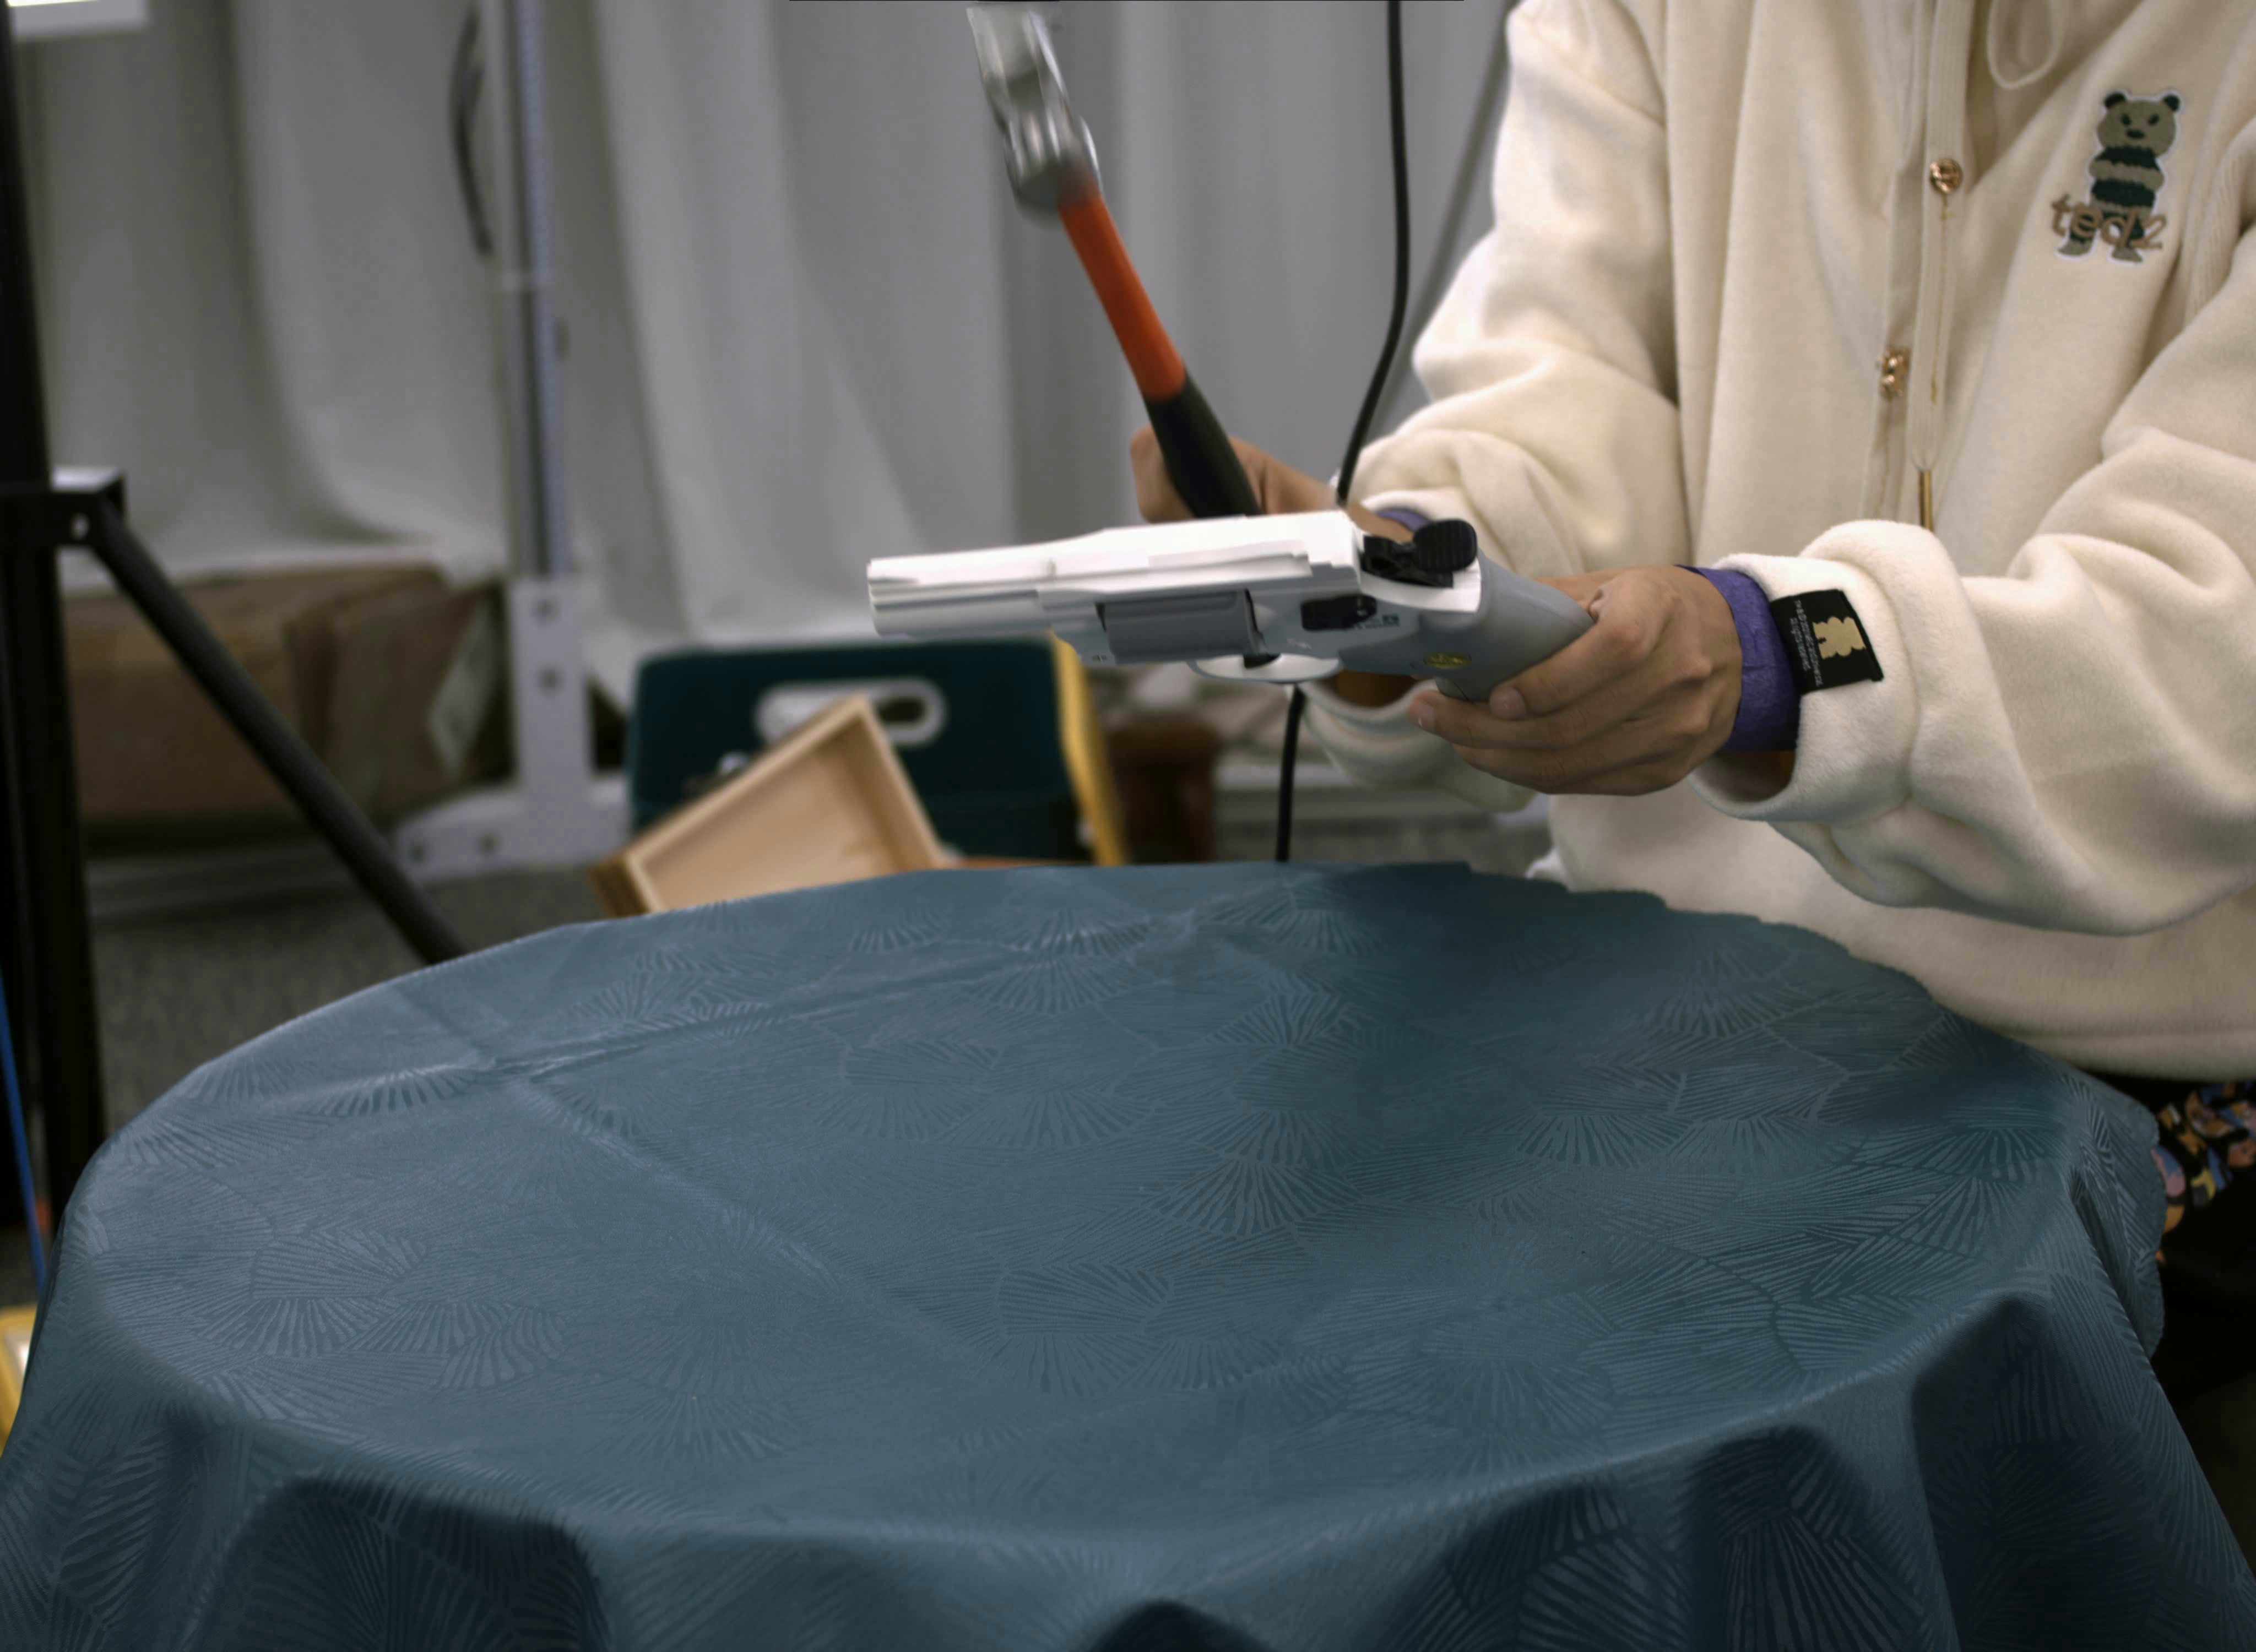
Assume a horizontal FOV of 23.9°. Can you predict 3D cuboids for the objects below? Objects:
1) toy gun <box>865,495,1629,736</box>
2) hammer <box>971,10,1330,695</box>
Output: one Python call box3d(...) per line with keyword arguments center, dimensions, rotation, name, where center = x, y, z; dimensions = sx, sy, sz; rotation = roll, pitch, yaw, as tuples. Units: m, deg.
box3d(center=(0.036, -0.059, 1.502), dimensions=(0.209, 0.039, 0.140), rotation=(-2, -17, 7), name="toy gun")
box3d(center=(0.012, -0.137, 1.629), dimensions=(0.026, 0.272, 0.113), rotation=(-27, 46, 0), name="hammer")
